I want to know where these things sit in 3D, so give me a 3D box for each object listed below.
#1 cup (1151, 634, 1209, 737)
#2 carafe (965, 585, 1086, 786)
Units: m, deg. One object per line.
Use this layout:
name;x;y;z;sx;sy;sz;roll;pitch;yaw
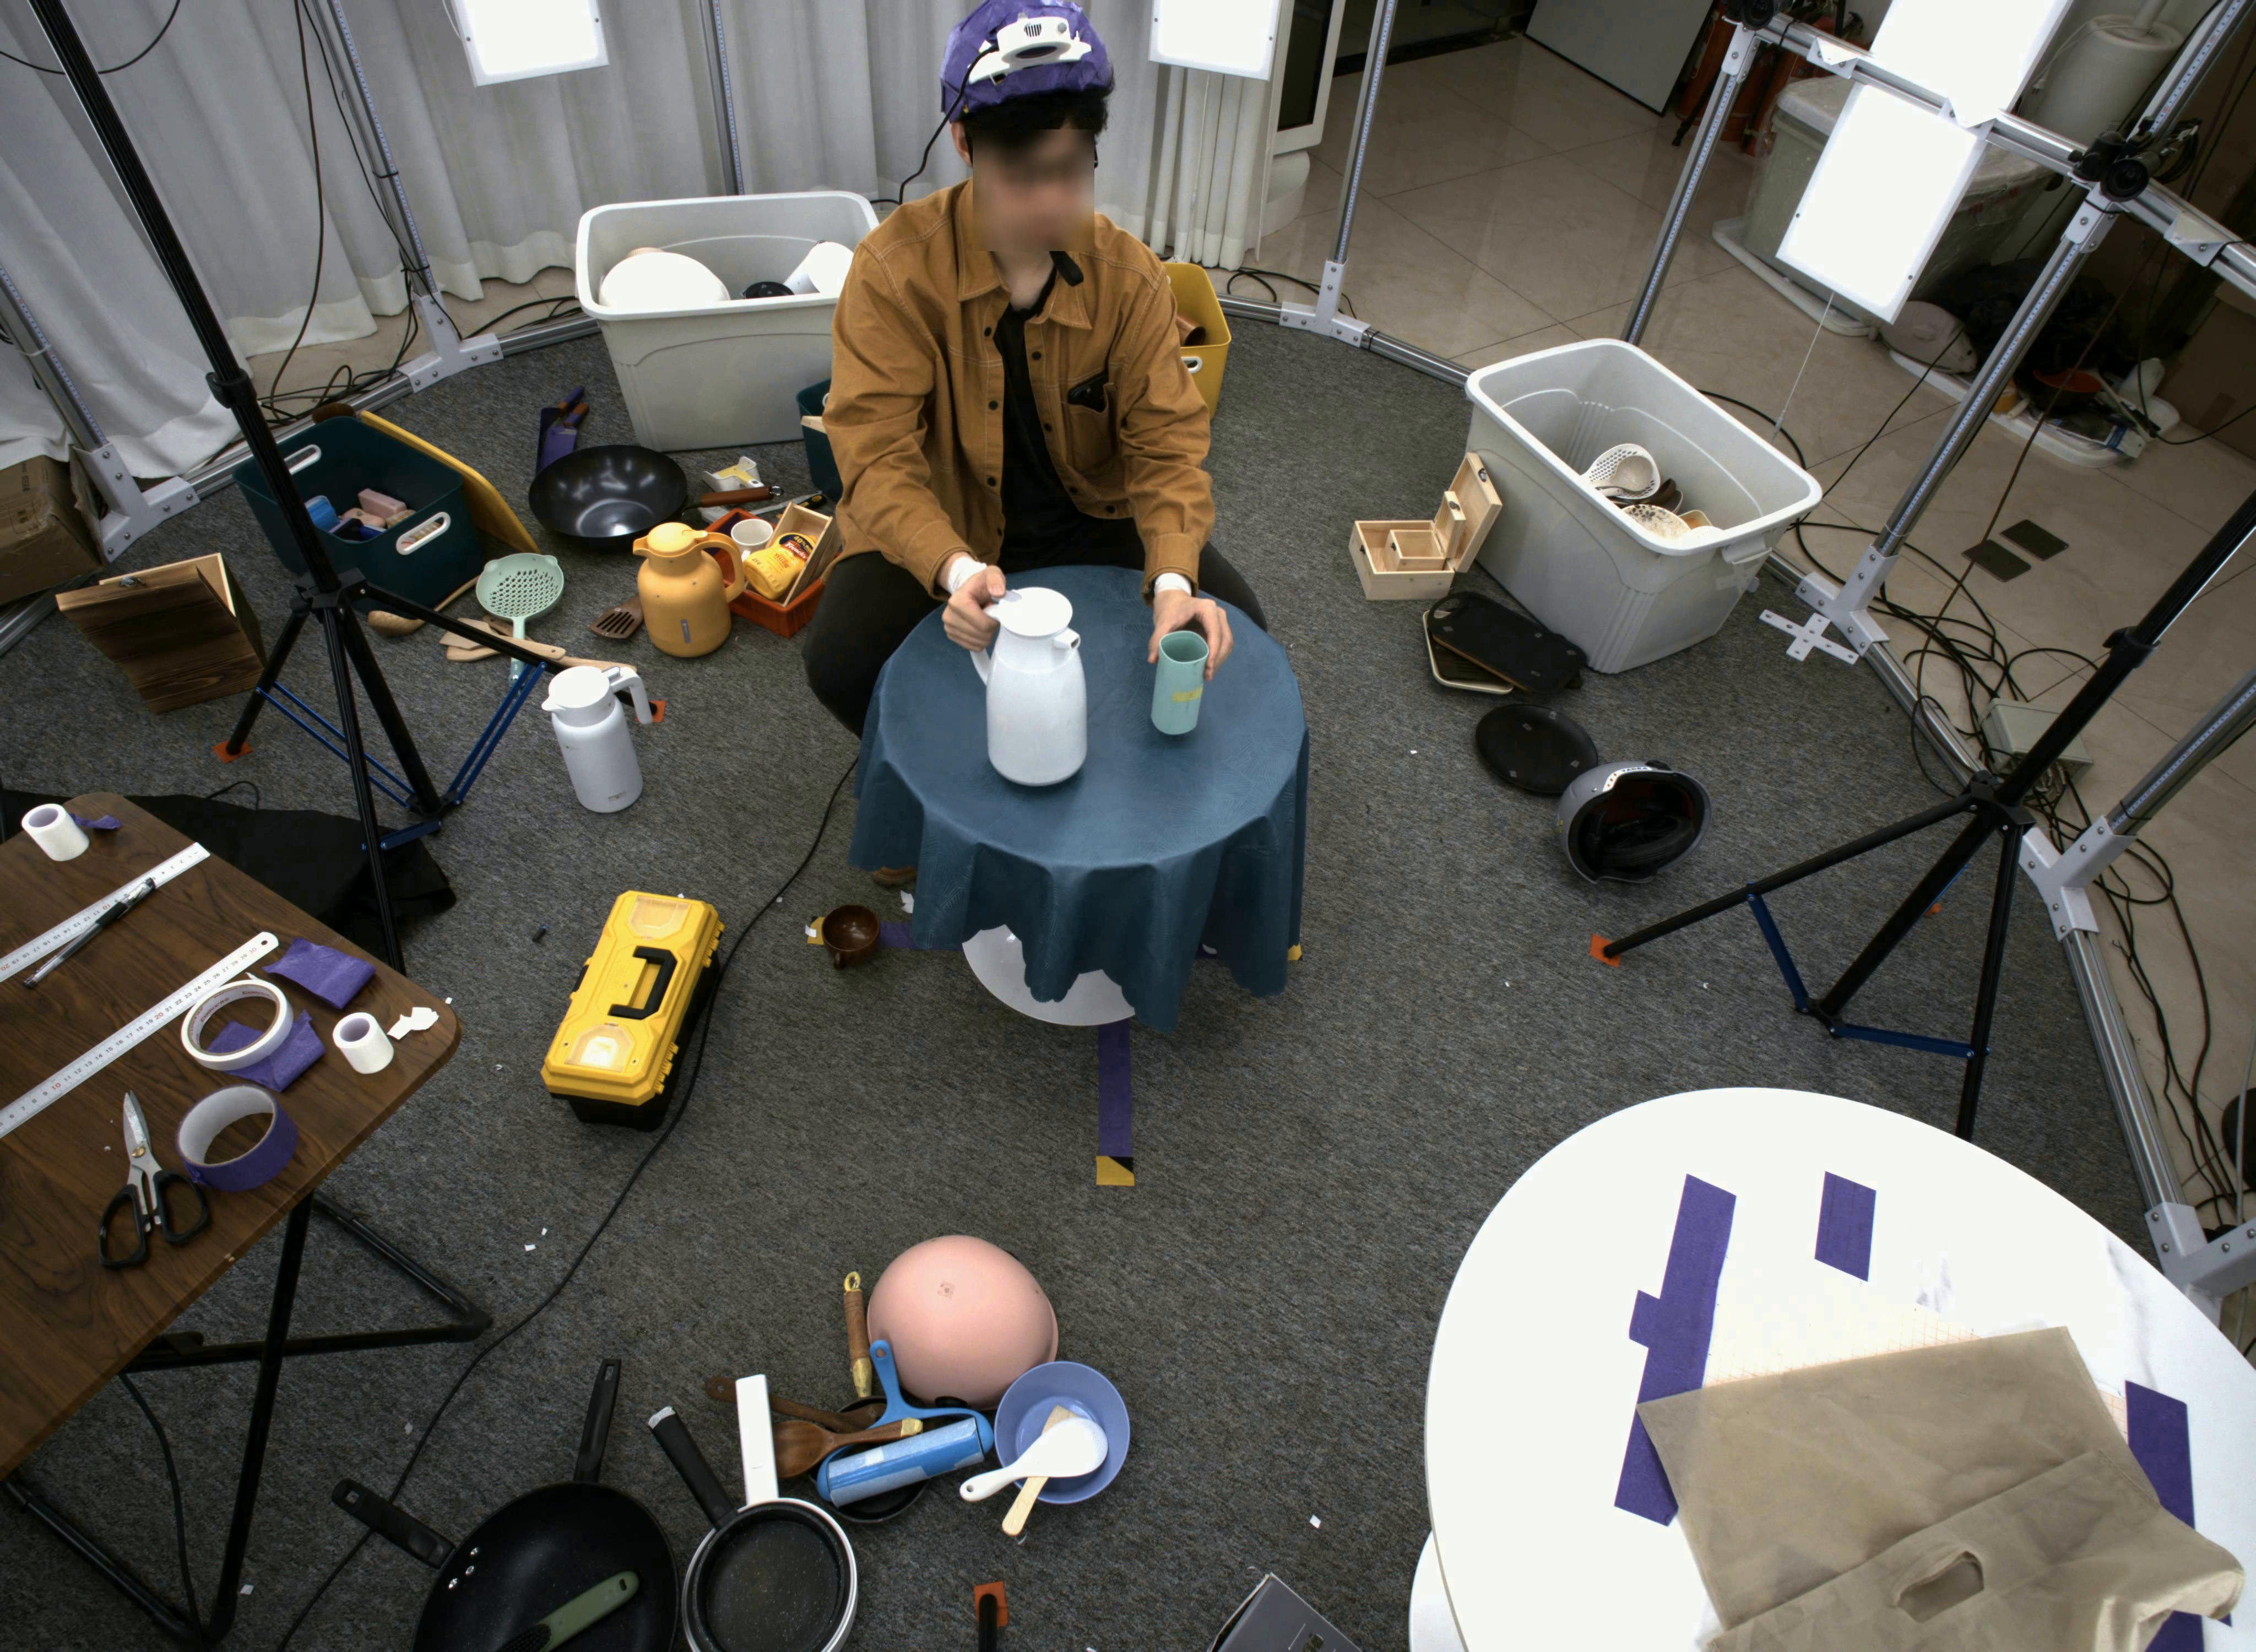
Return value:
cup;0.068;-0.189;1.717;0.066;0.129;0.068;3;47;-4
carafe;-0.135;-0.191;1.633;0.169;0.242;0.134;27;52;22
